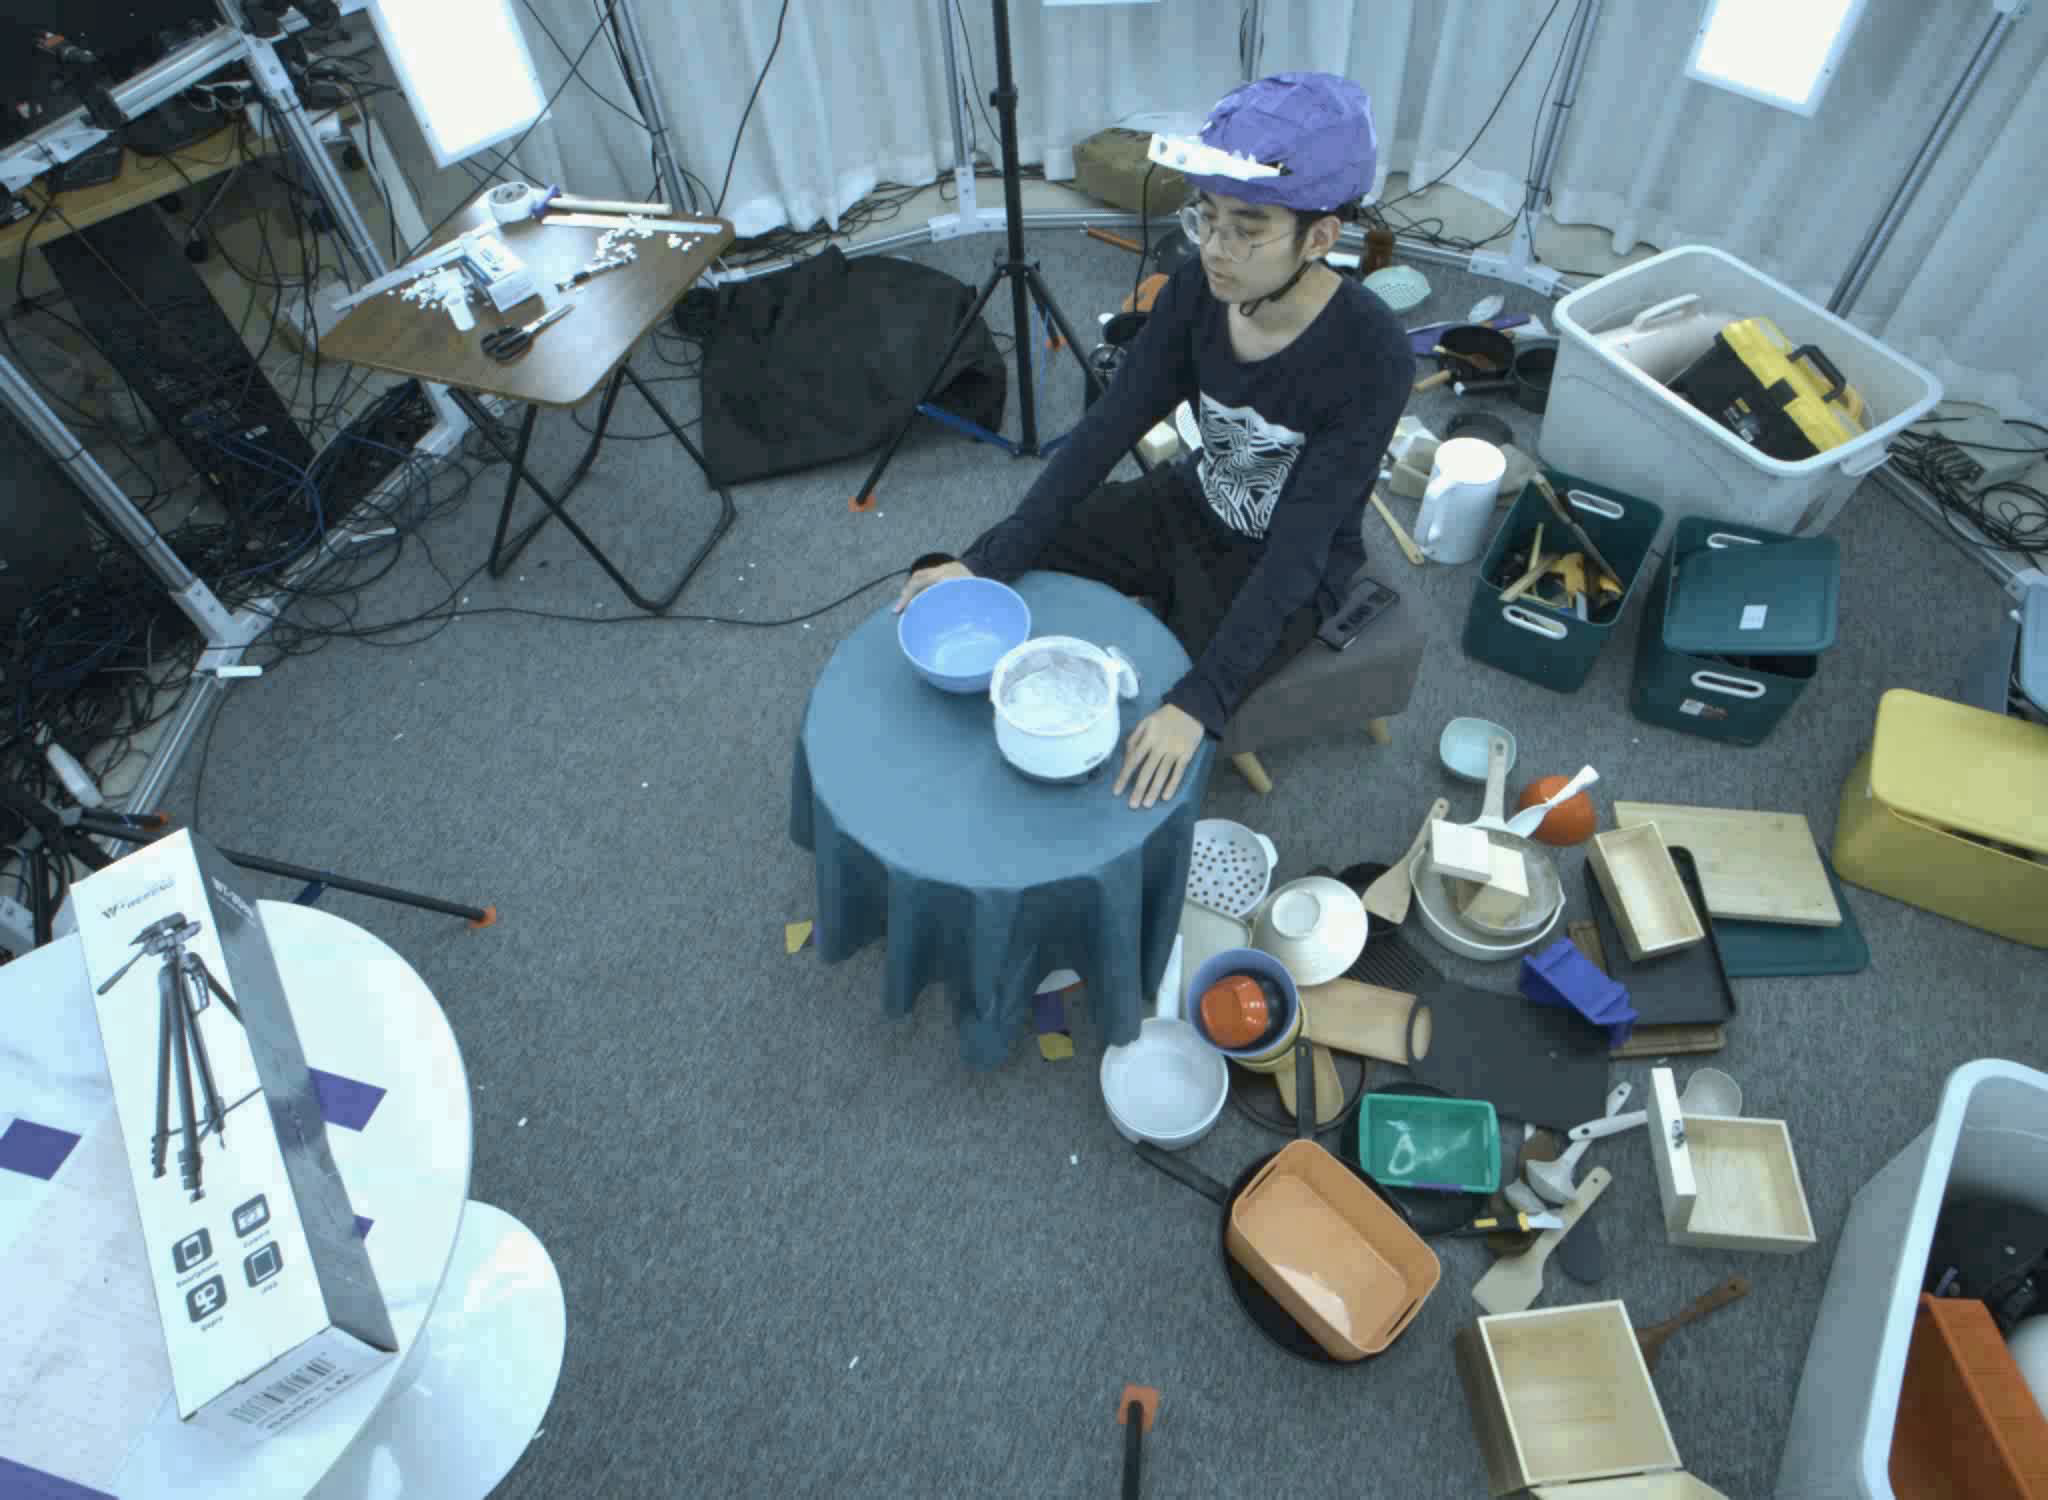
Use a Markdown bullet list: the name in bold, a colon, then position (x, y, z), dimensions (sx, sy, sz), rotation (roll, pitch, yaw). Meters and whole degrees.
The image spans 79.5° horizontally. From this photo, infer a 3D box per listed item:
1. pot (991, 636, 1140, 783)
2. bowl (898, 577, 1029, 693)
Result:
- **pot**: position (0.068, -0.068, 1.756), dimensions (0.235, 0.138, 0.175), rotation (-33, 62, -19)
- **bowl**: position (-0.086, -0.158, 1.849), dimensions (0.196, 0.096, 0.194), rotation (-2, 55, 4)
